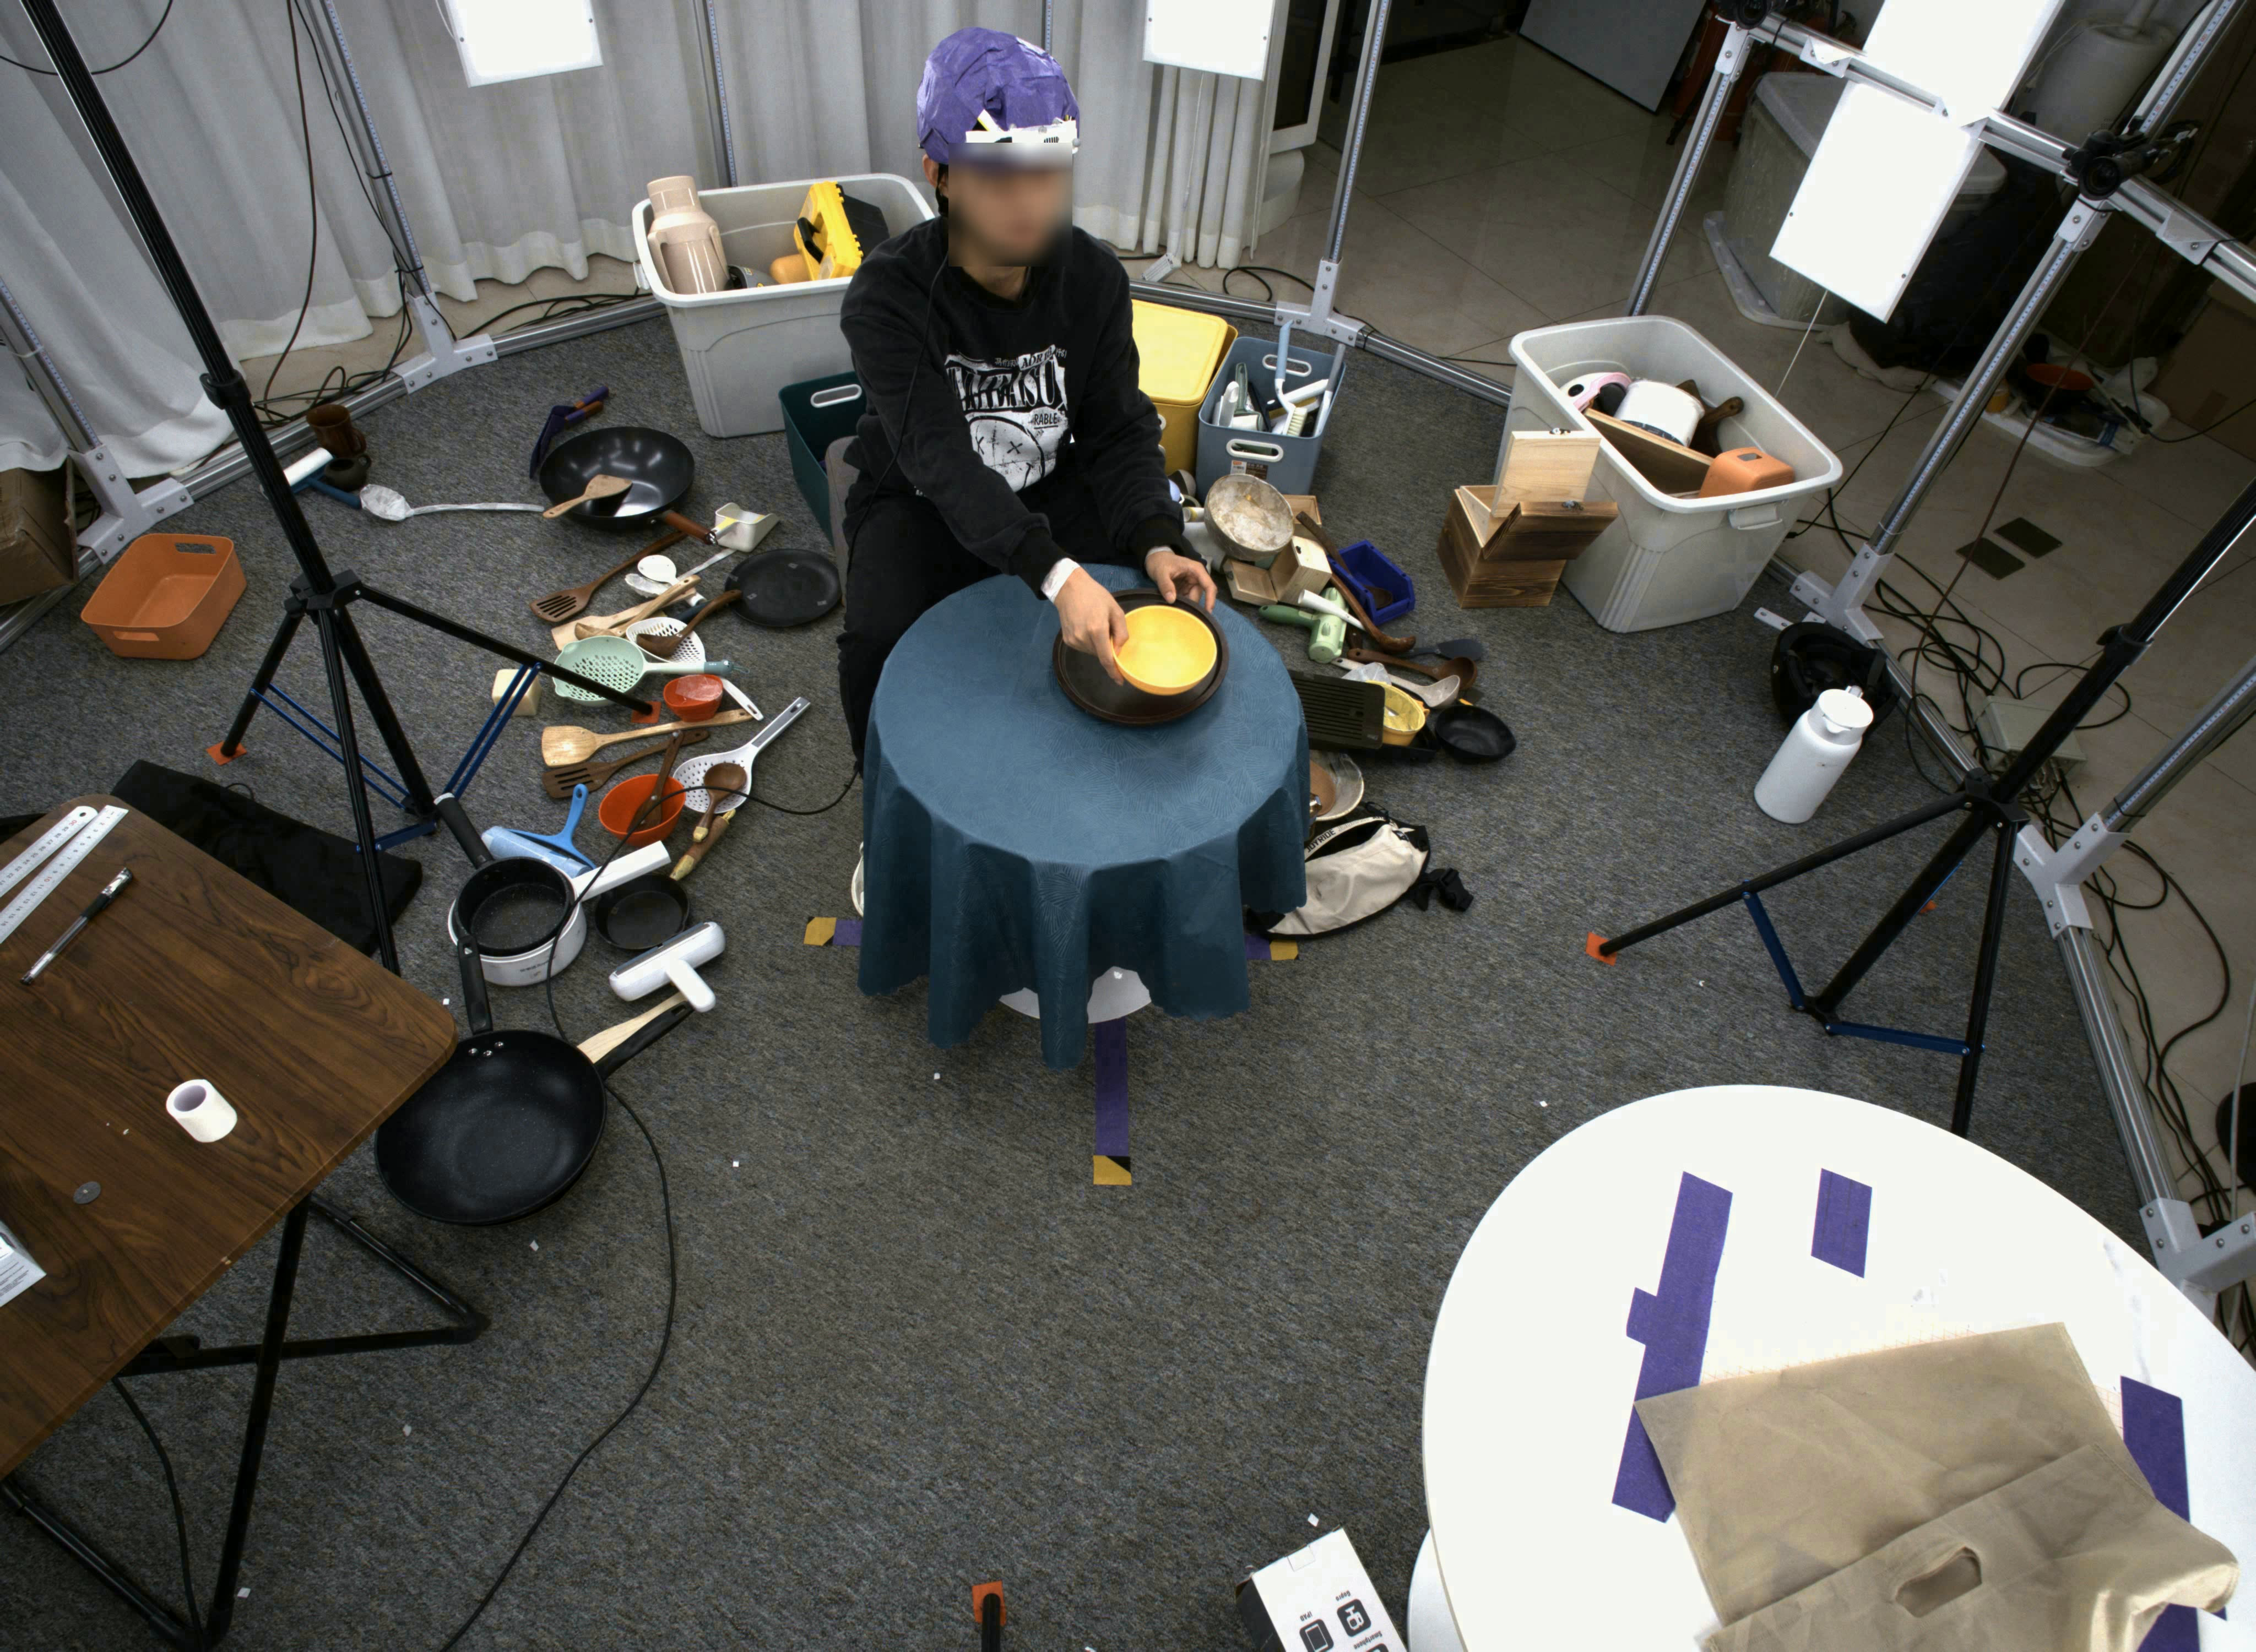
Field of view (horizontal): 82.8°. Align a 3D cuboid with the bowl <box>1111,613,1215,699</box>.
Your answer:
[{"bbox_3d":[0.045,-0.223,1.765,0.145,0.059,0.149,4,51,-5],"label":"bowl"}]

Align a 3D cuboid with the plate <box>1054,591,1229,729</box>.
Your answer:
[{"bbox_3d":[0.019,-0.242,1.862,0.255,0.028,0.261,-2,55,3],"label":"plate"}]
